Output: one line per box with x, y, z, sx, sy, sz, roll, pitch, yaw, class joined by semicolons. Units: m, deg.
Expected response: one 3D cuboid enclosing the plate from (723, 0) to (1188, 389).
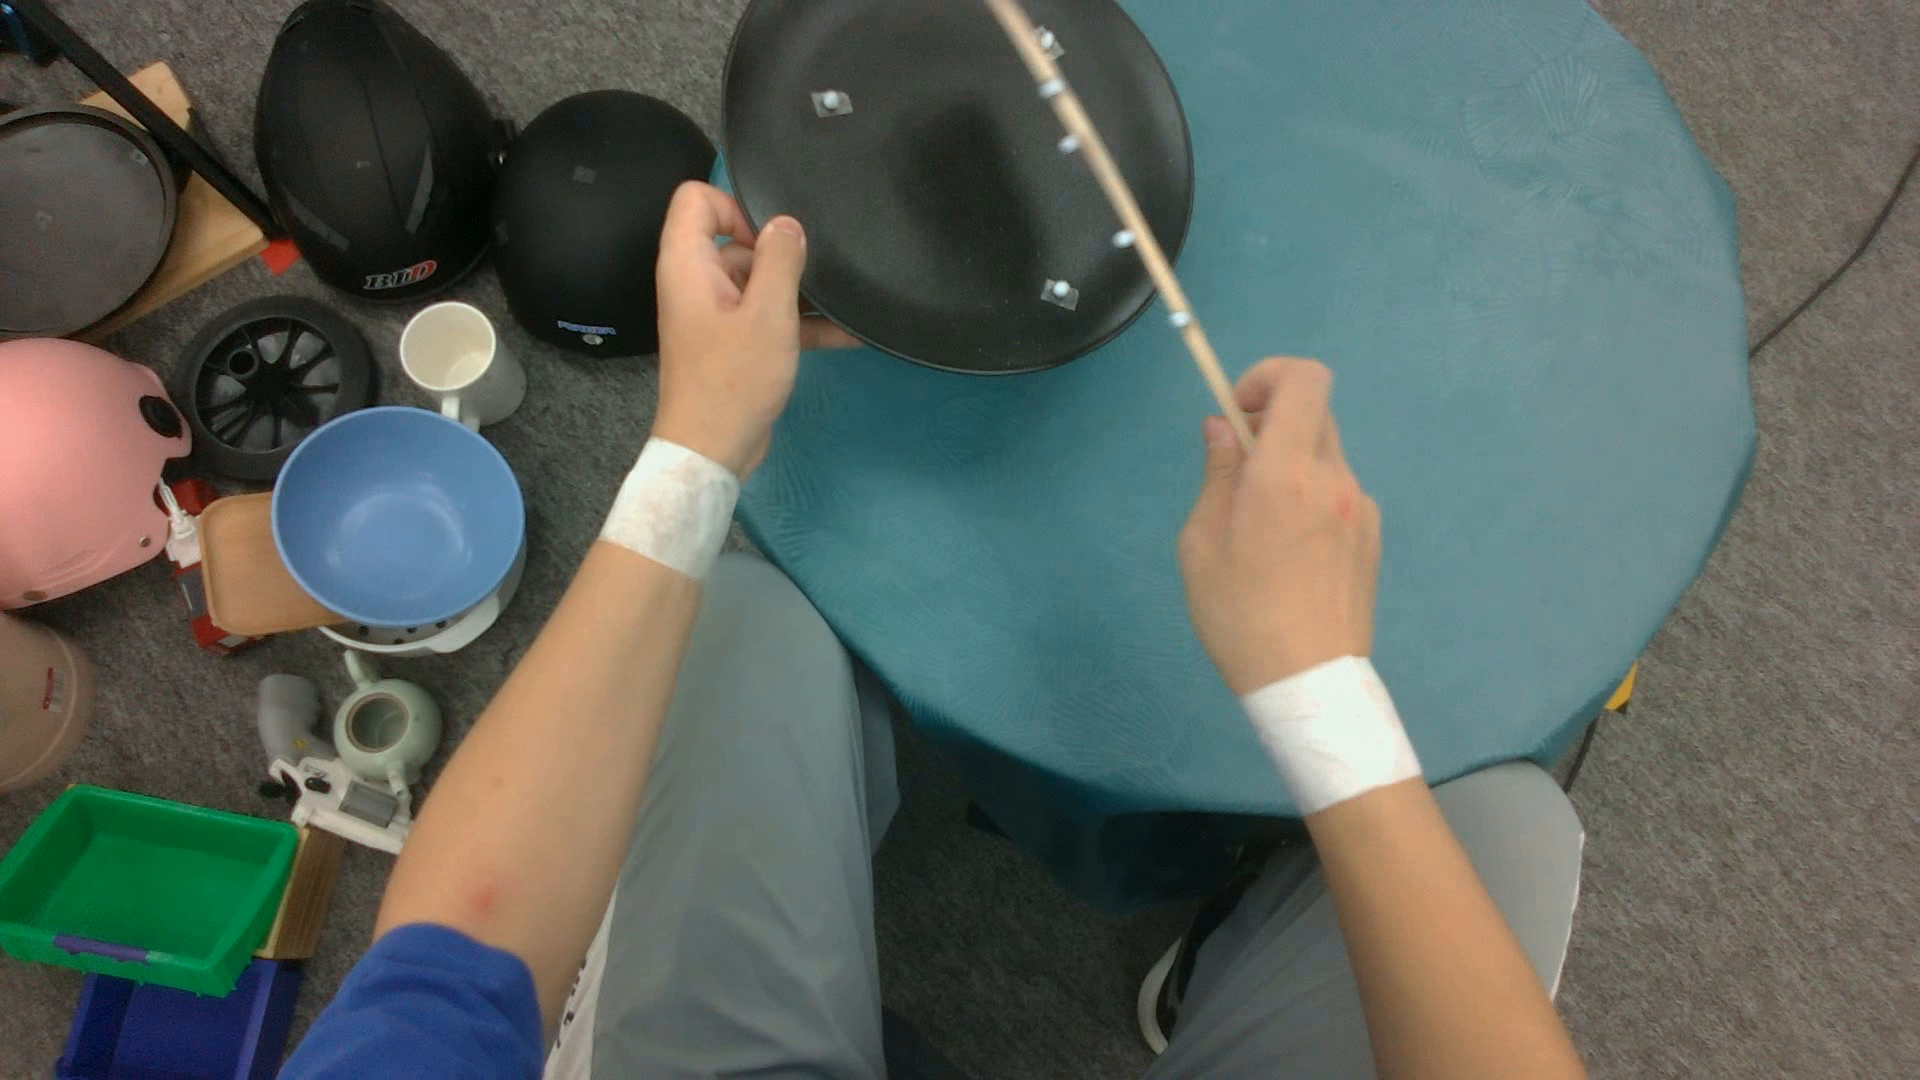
0.000;-0.191;0.704;0.245;0.023;0.245;4;75;-15;plate

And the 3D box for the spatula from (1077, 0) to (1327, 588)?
0.110;-0.115;0.624;0.010;0.072;0.293;-21;85;4;spatula
